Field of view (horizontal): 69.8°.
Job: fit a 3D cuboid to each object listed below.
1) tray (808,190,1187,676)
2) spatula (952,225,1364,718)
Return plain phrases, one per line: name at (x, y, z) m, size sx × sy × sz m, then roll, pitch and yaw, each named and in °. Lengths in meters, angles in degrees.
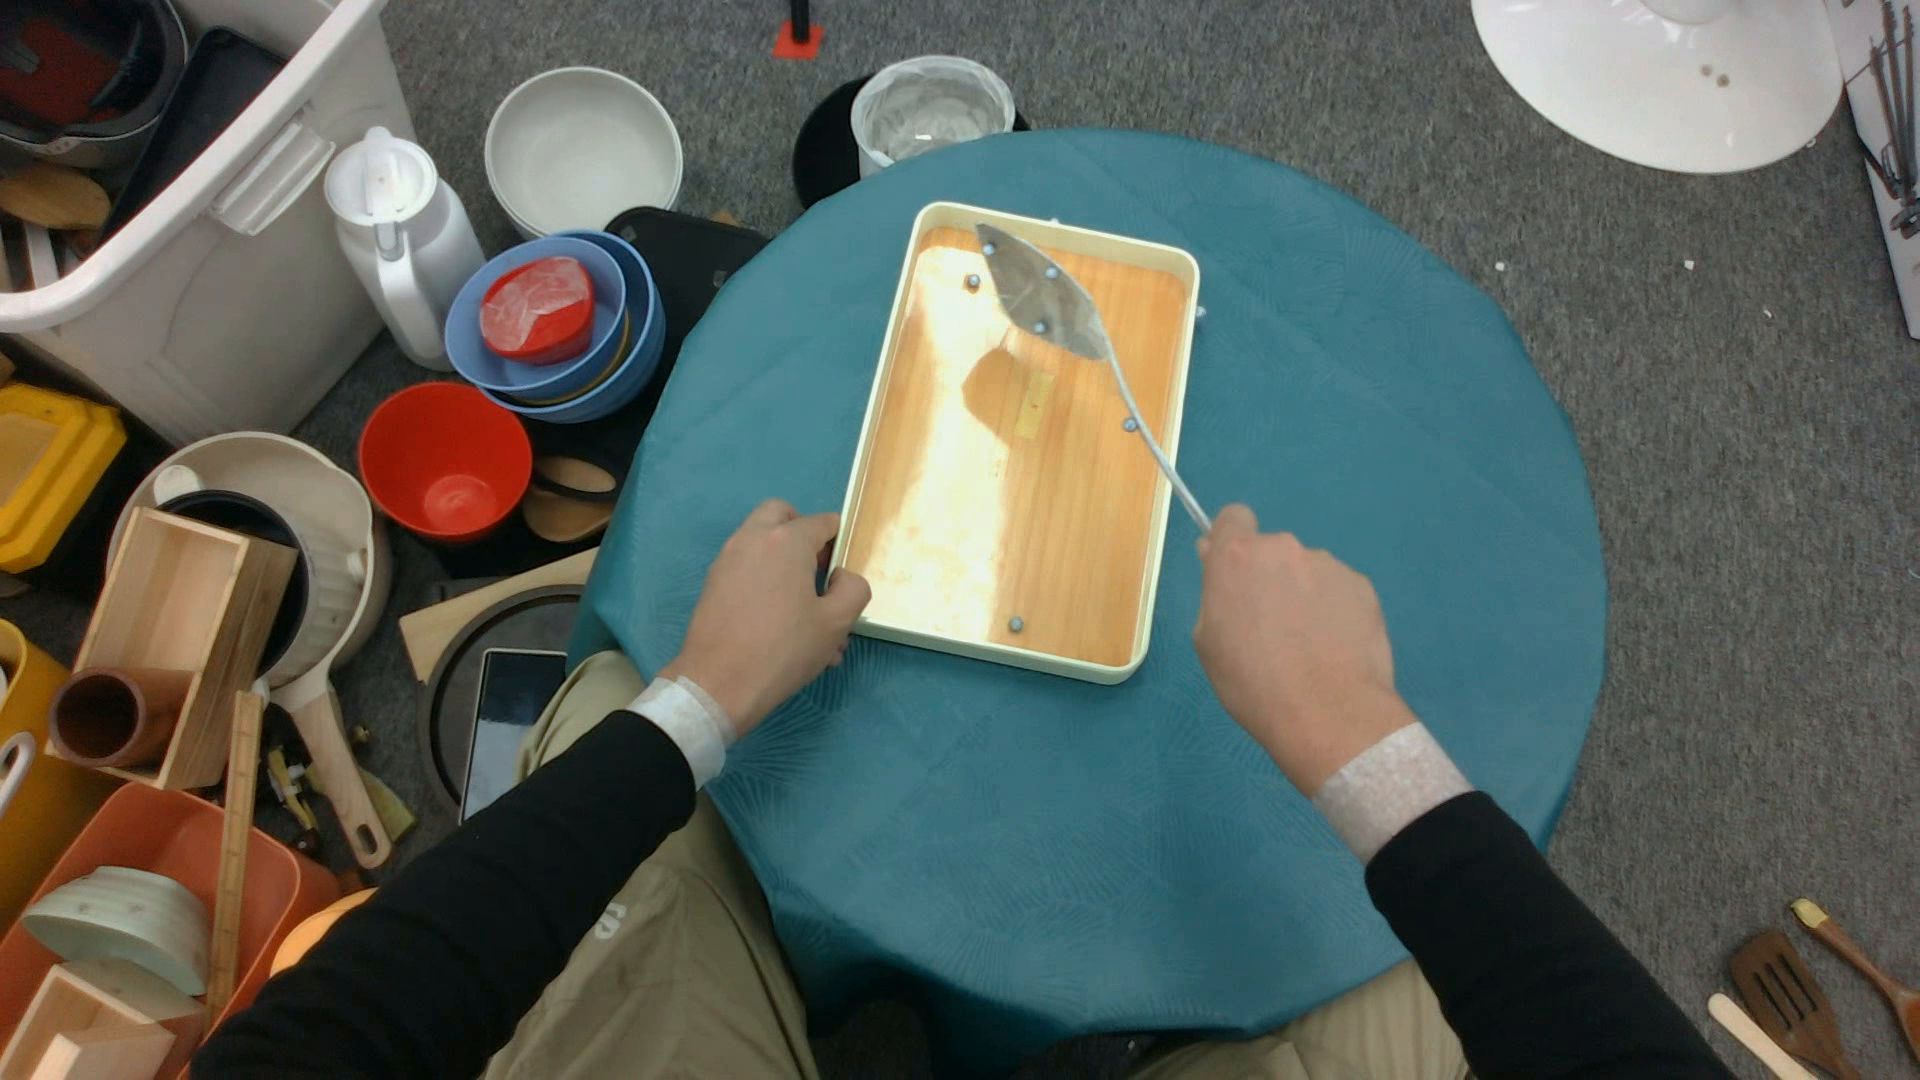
tray at (0.030, -0.074, 0.850) m, size 0.191 × 0.027 × 0.301 m, roll 12°, pitch 66°, yaw 0°
spatula at (0.094, -0.044, 0.736) m, size 0.045 × 0.098 × 0.366 m, roll -27°, pitch 56°, yaw -3°
